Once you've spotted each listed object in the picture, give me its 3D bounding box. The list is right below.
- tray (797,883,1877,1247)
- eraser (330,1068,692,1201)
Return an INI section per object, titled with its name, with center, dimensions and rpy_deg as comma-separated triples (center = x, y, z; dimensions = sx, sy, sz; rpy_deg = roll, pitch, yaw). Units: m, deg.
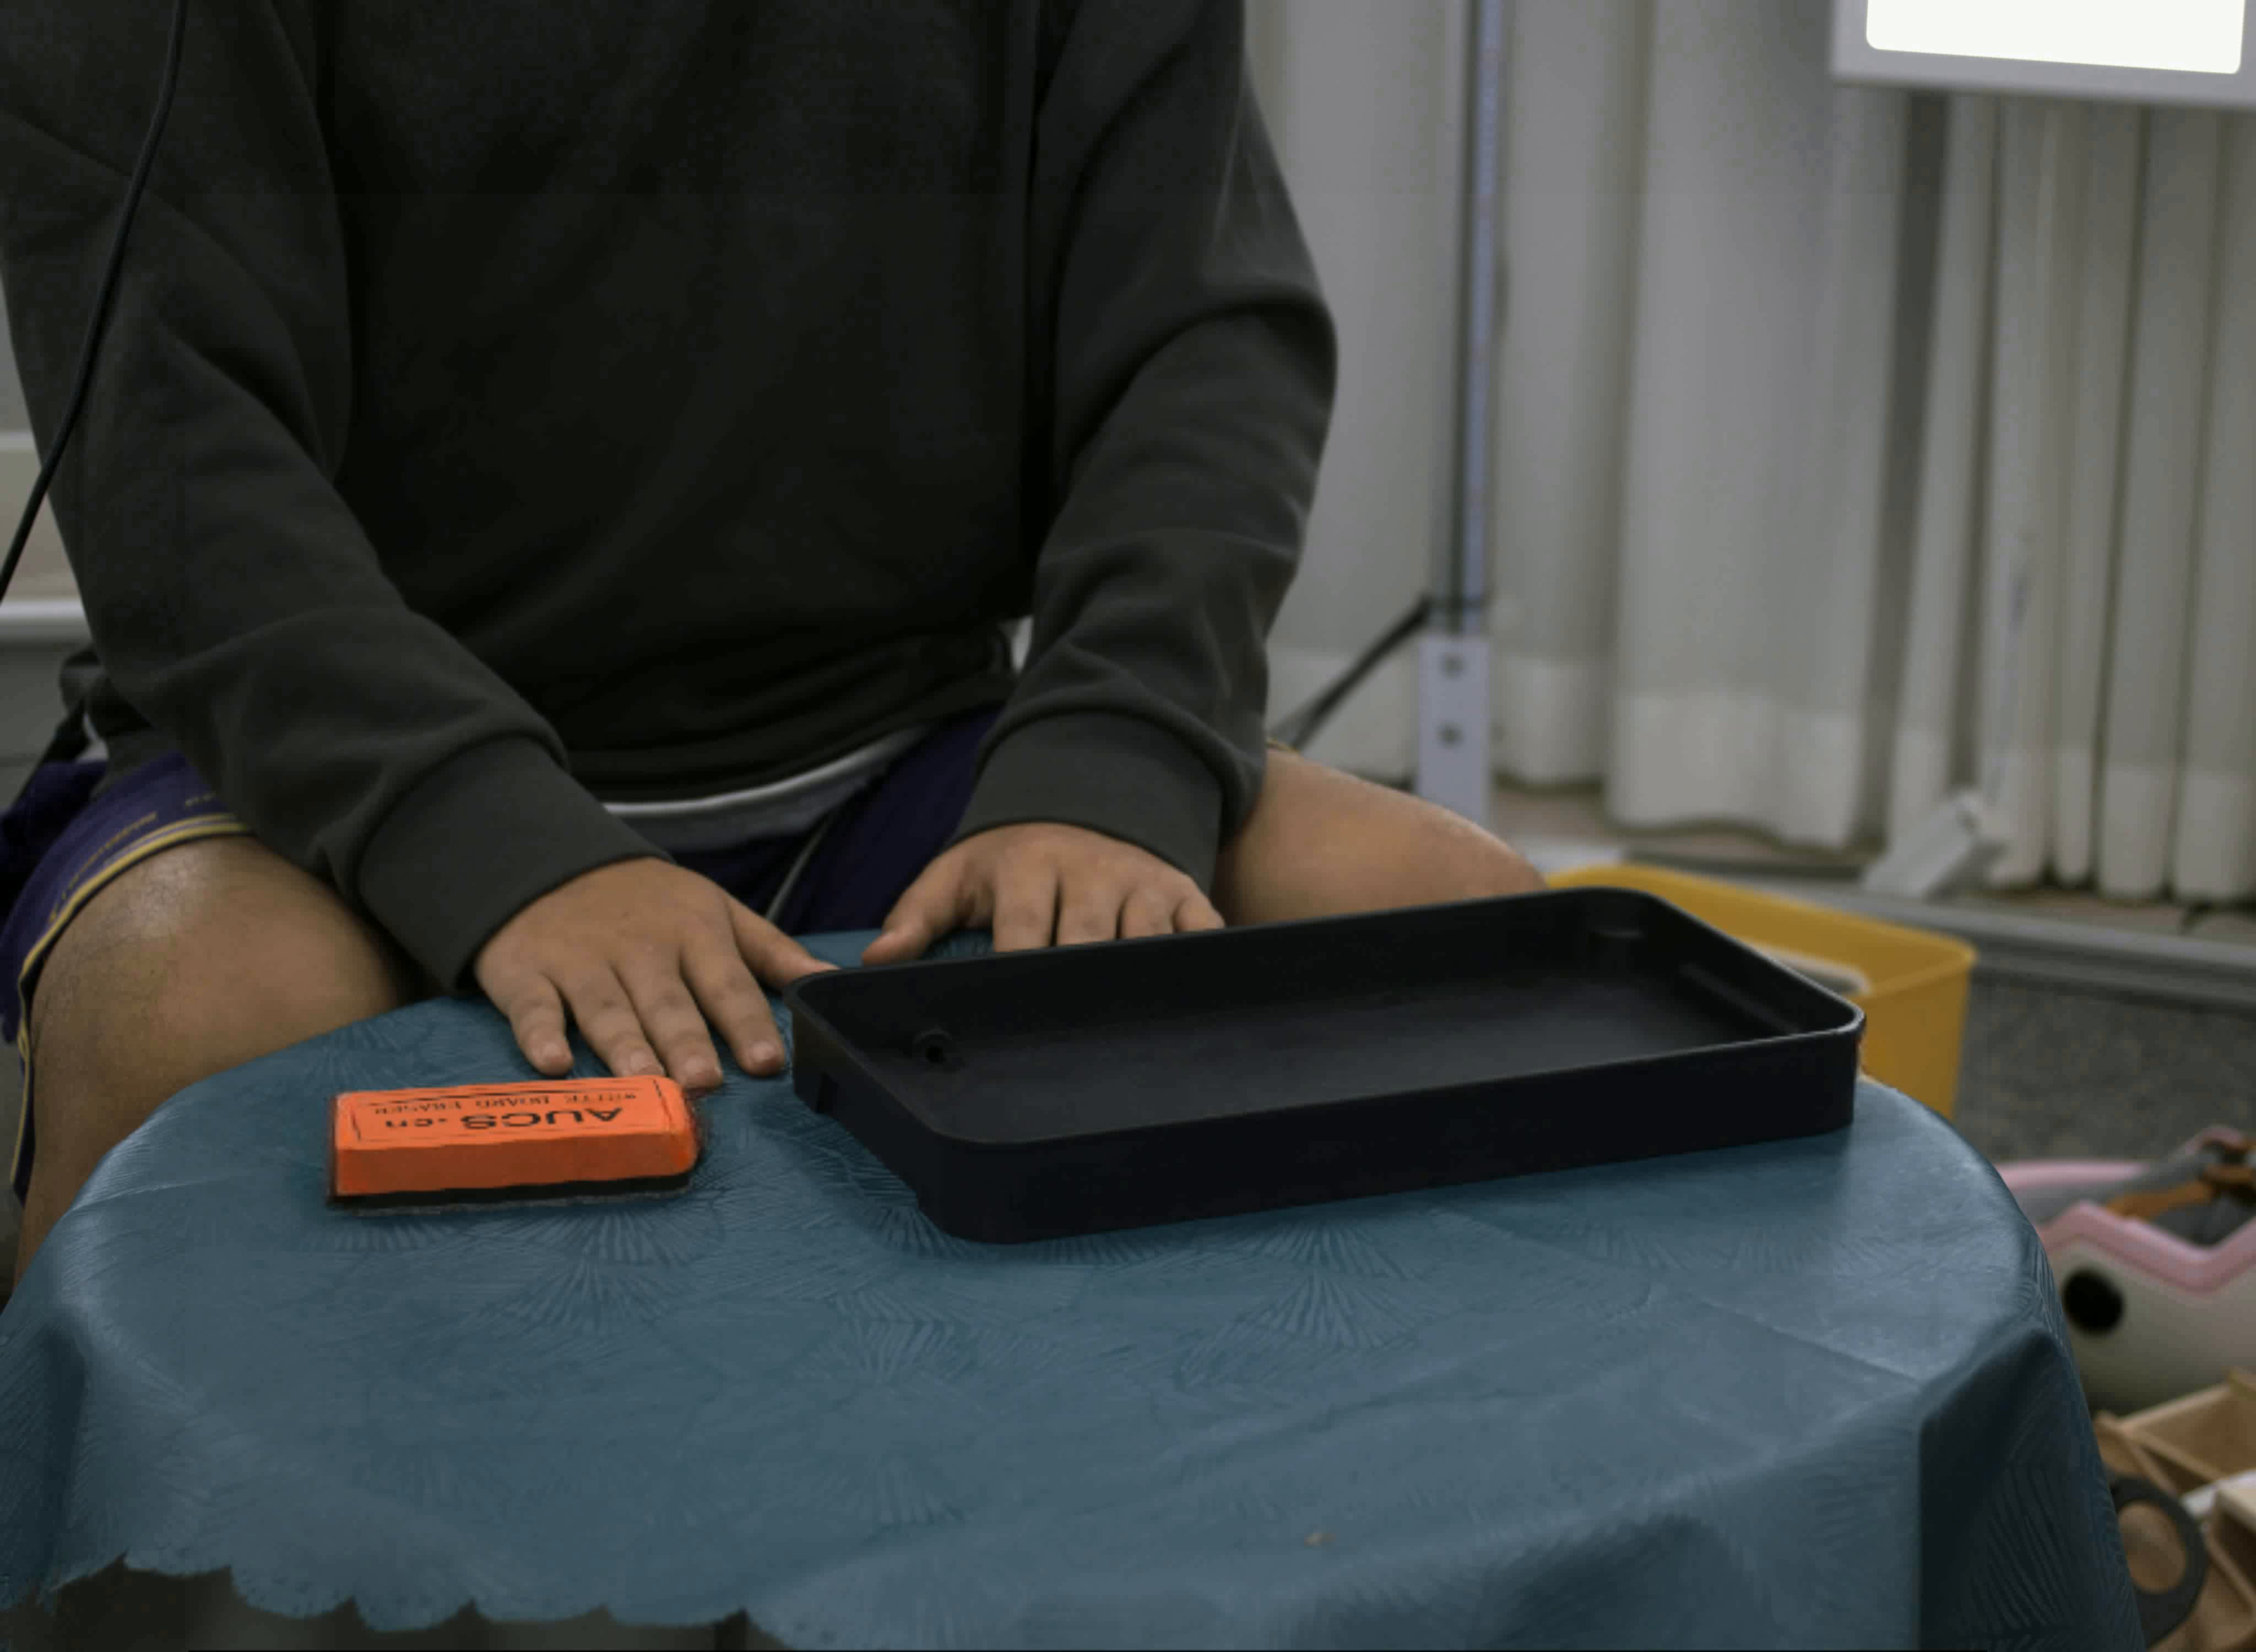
[tray]
center = 0.067, 0.073, 1.703
dimensions = 0.319, 0.037, 0.182
rpy_deg = -7, 17, -23
[eraser]
center = -0.191, 0.095, 1.622
dimensions = 0.108, 0.023, 0.058
rpy_deg = -4, 11, -12
